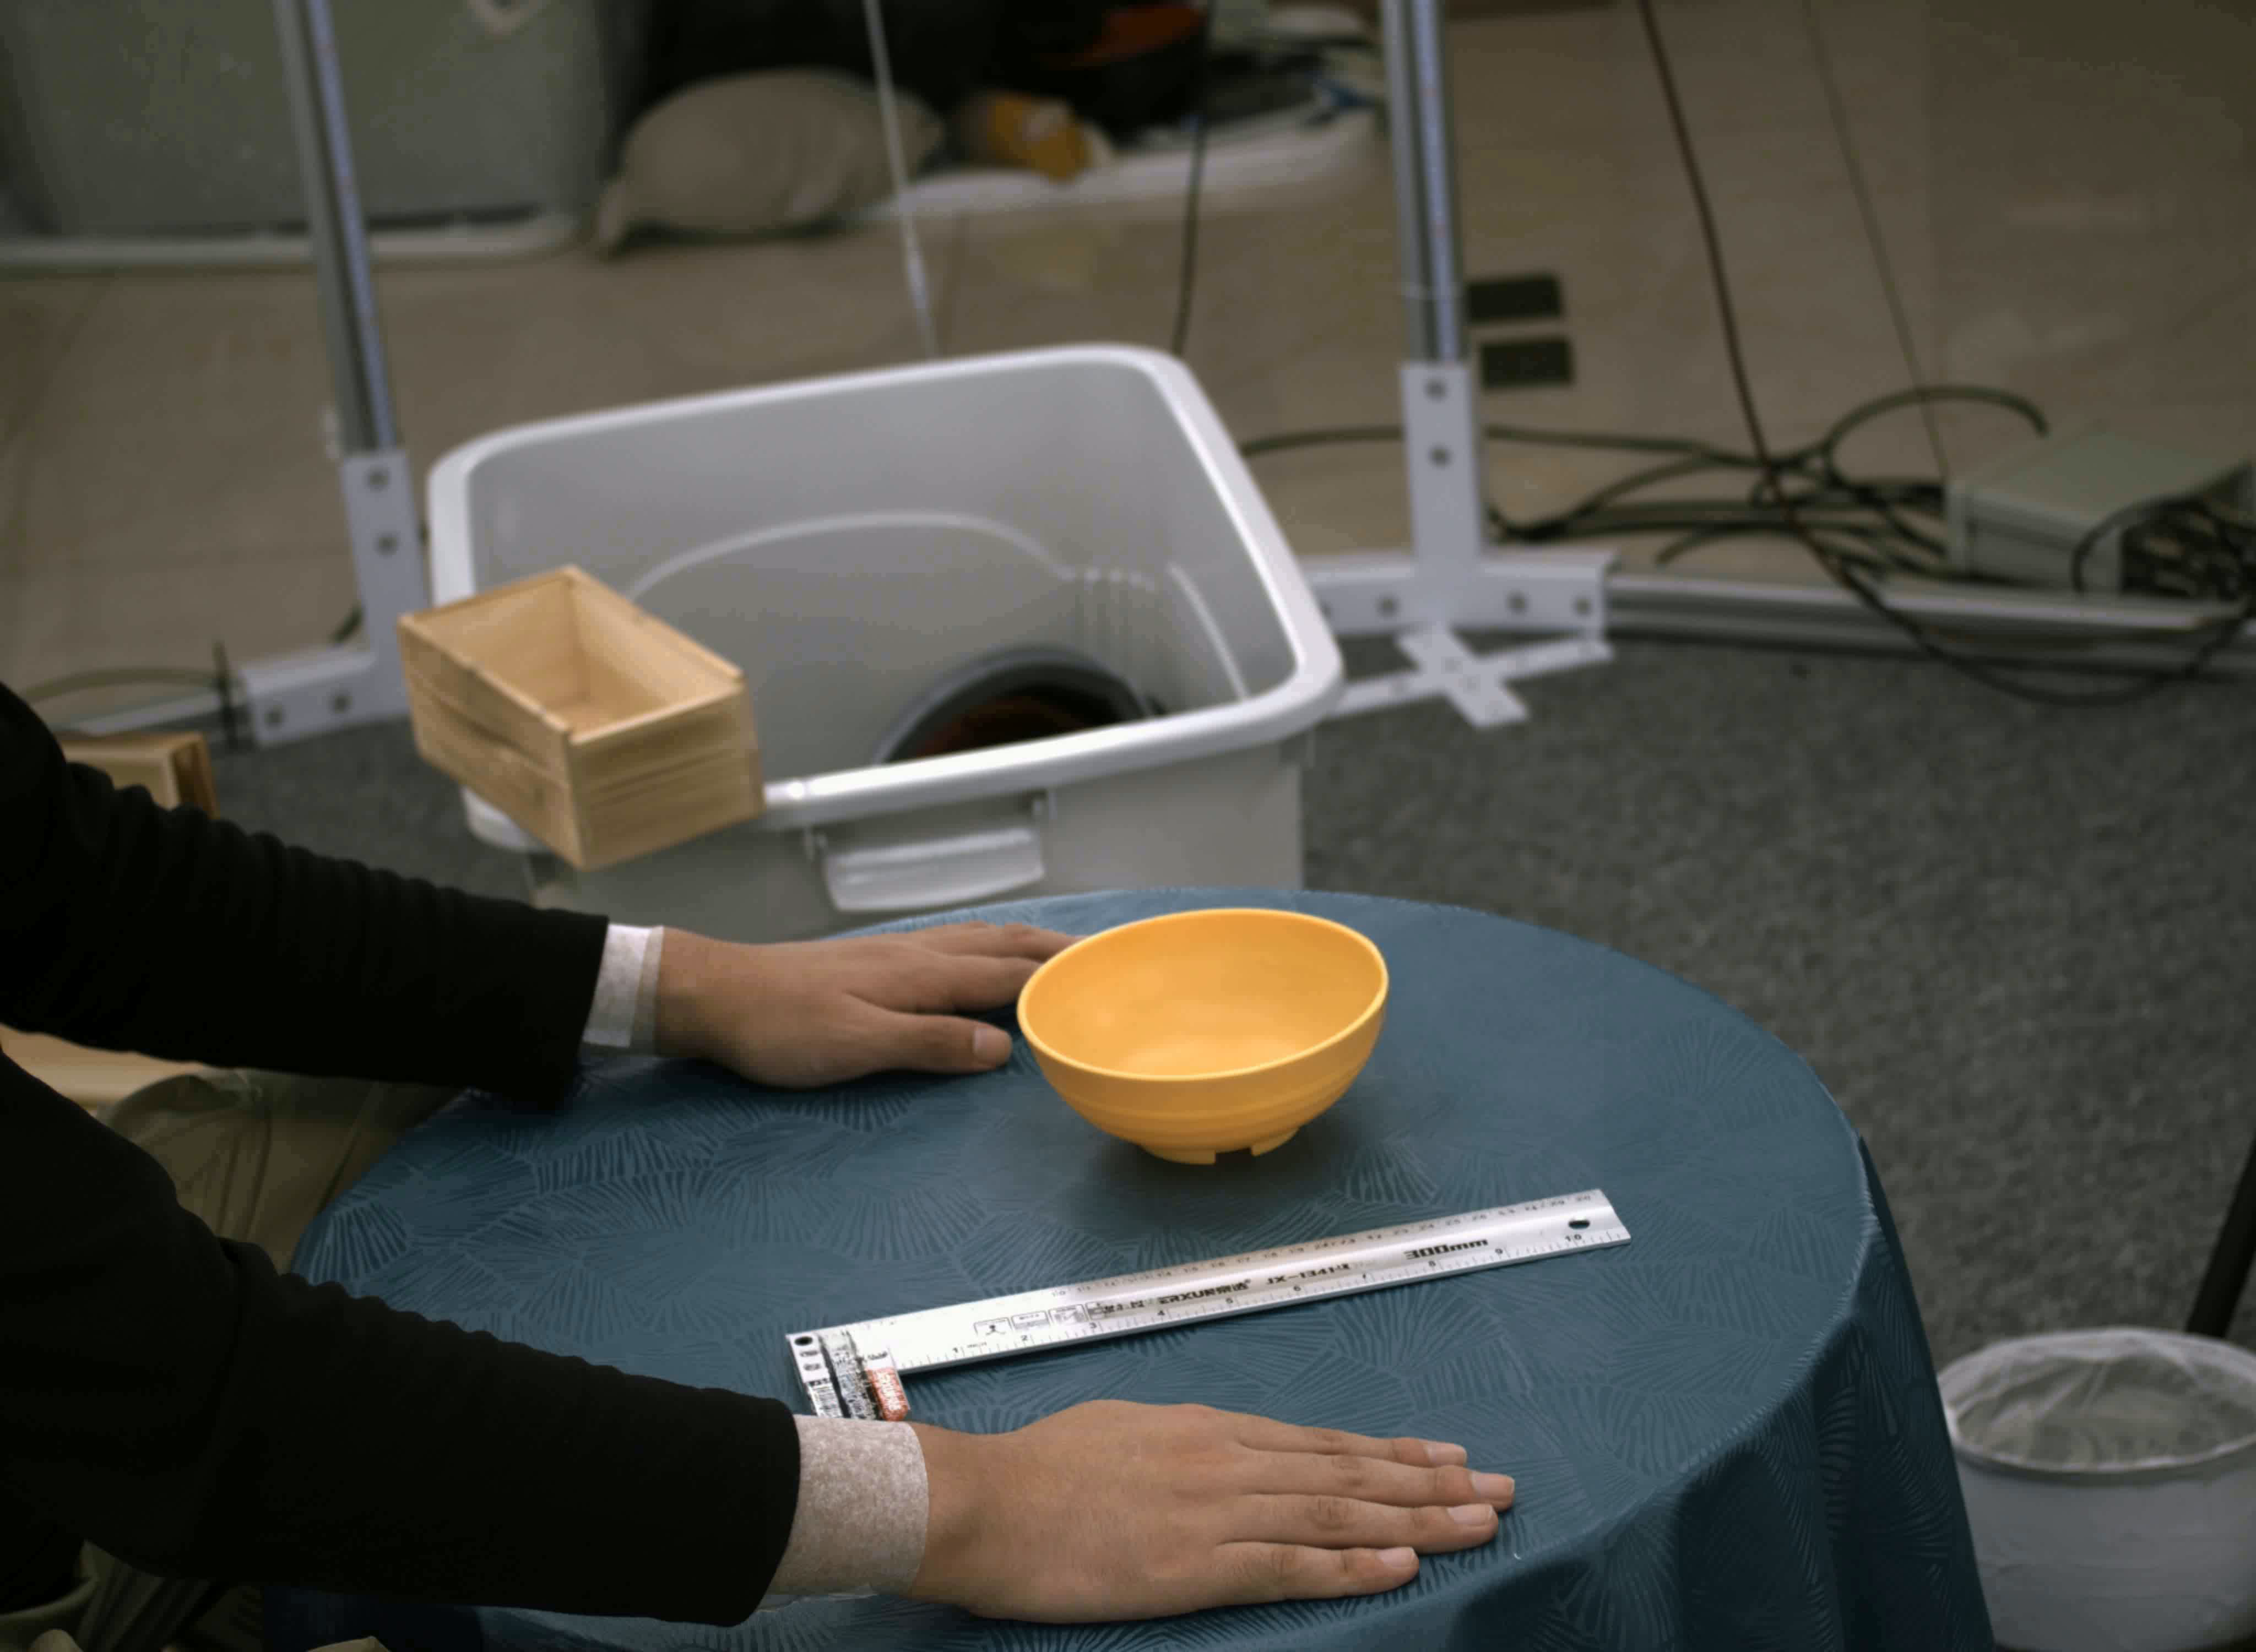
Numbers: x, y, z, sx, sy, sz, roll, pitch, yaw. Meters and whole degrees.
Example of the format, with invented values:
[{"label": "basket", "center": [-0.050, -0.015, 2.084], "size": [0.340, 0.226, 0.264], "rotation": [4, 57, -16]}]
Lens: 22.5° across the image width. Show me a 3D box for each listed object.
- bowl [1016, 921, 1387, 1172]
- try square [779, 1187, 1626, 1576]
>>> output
[{"label": "bowl", "center": [0.032, 0.092, 2.176], "size": [0.145, 0.061, 0.143], "rotation": [-8, 23, 3]}, {"label": "try square", "center": [0.038, 0.193, 2.021], "size": [0.312, 0.016, 0.150], "rotation": [-9, 29, -9]}]
